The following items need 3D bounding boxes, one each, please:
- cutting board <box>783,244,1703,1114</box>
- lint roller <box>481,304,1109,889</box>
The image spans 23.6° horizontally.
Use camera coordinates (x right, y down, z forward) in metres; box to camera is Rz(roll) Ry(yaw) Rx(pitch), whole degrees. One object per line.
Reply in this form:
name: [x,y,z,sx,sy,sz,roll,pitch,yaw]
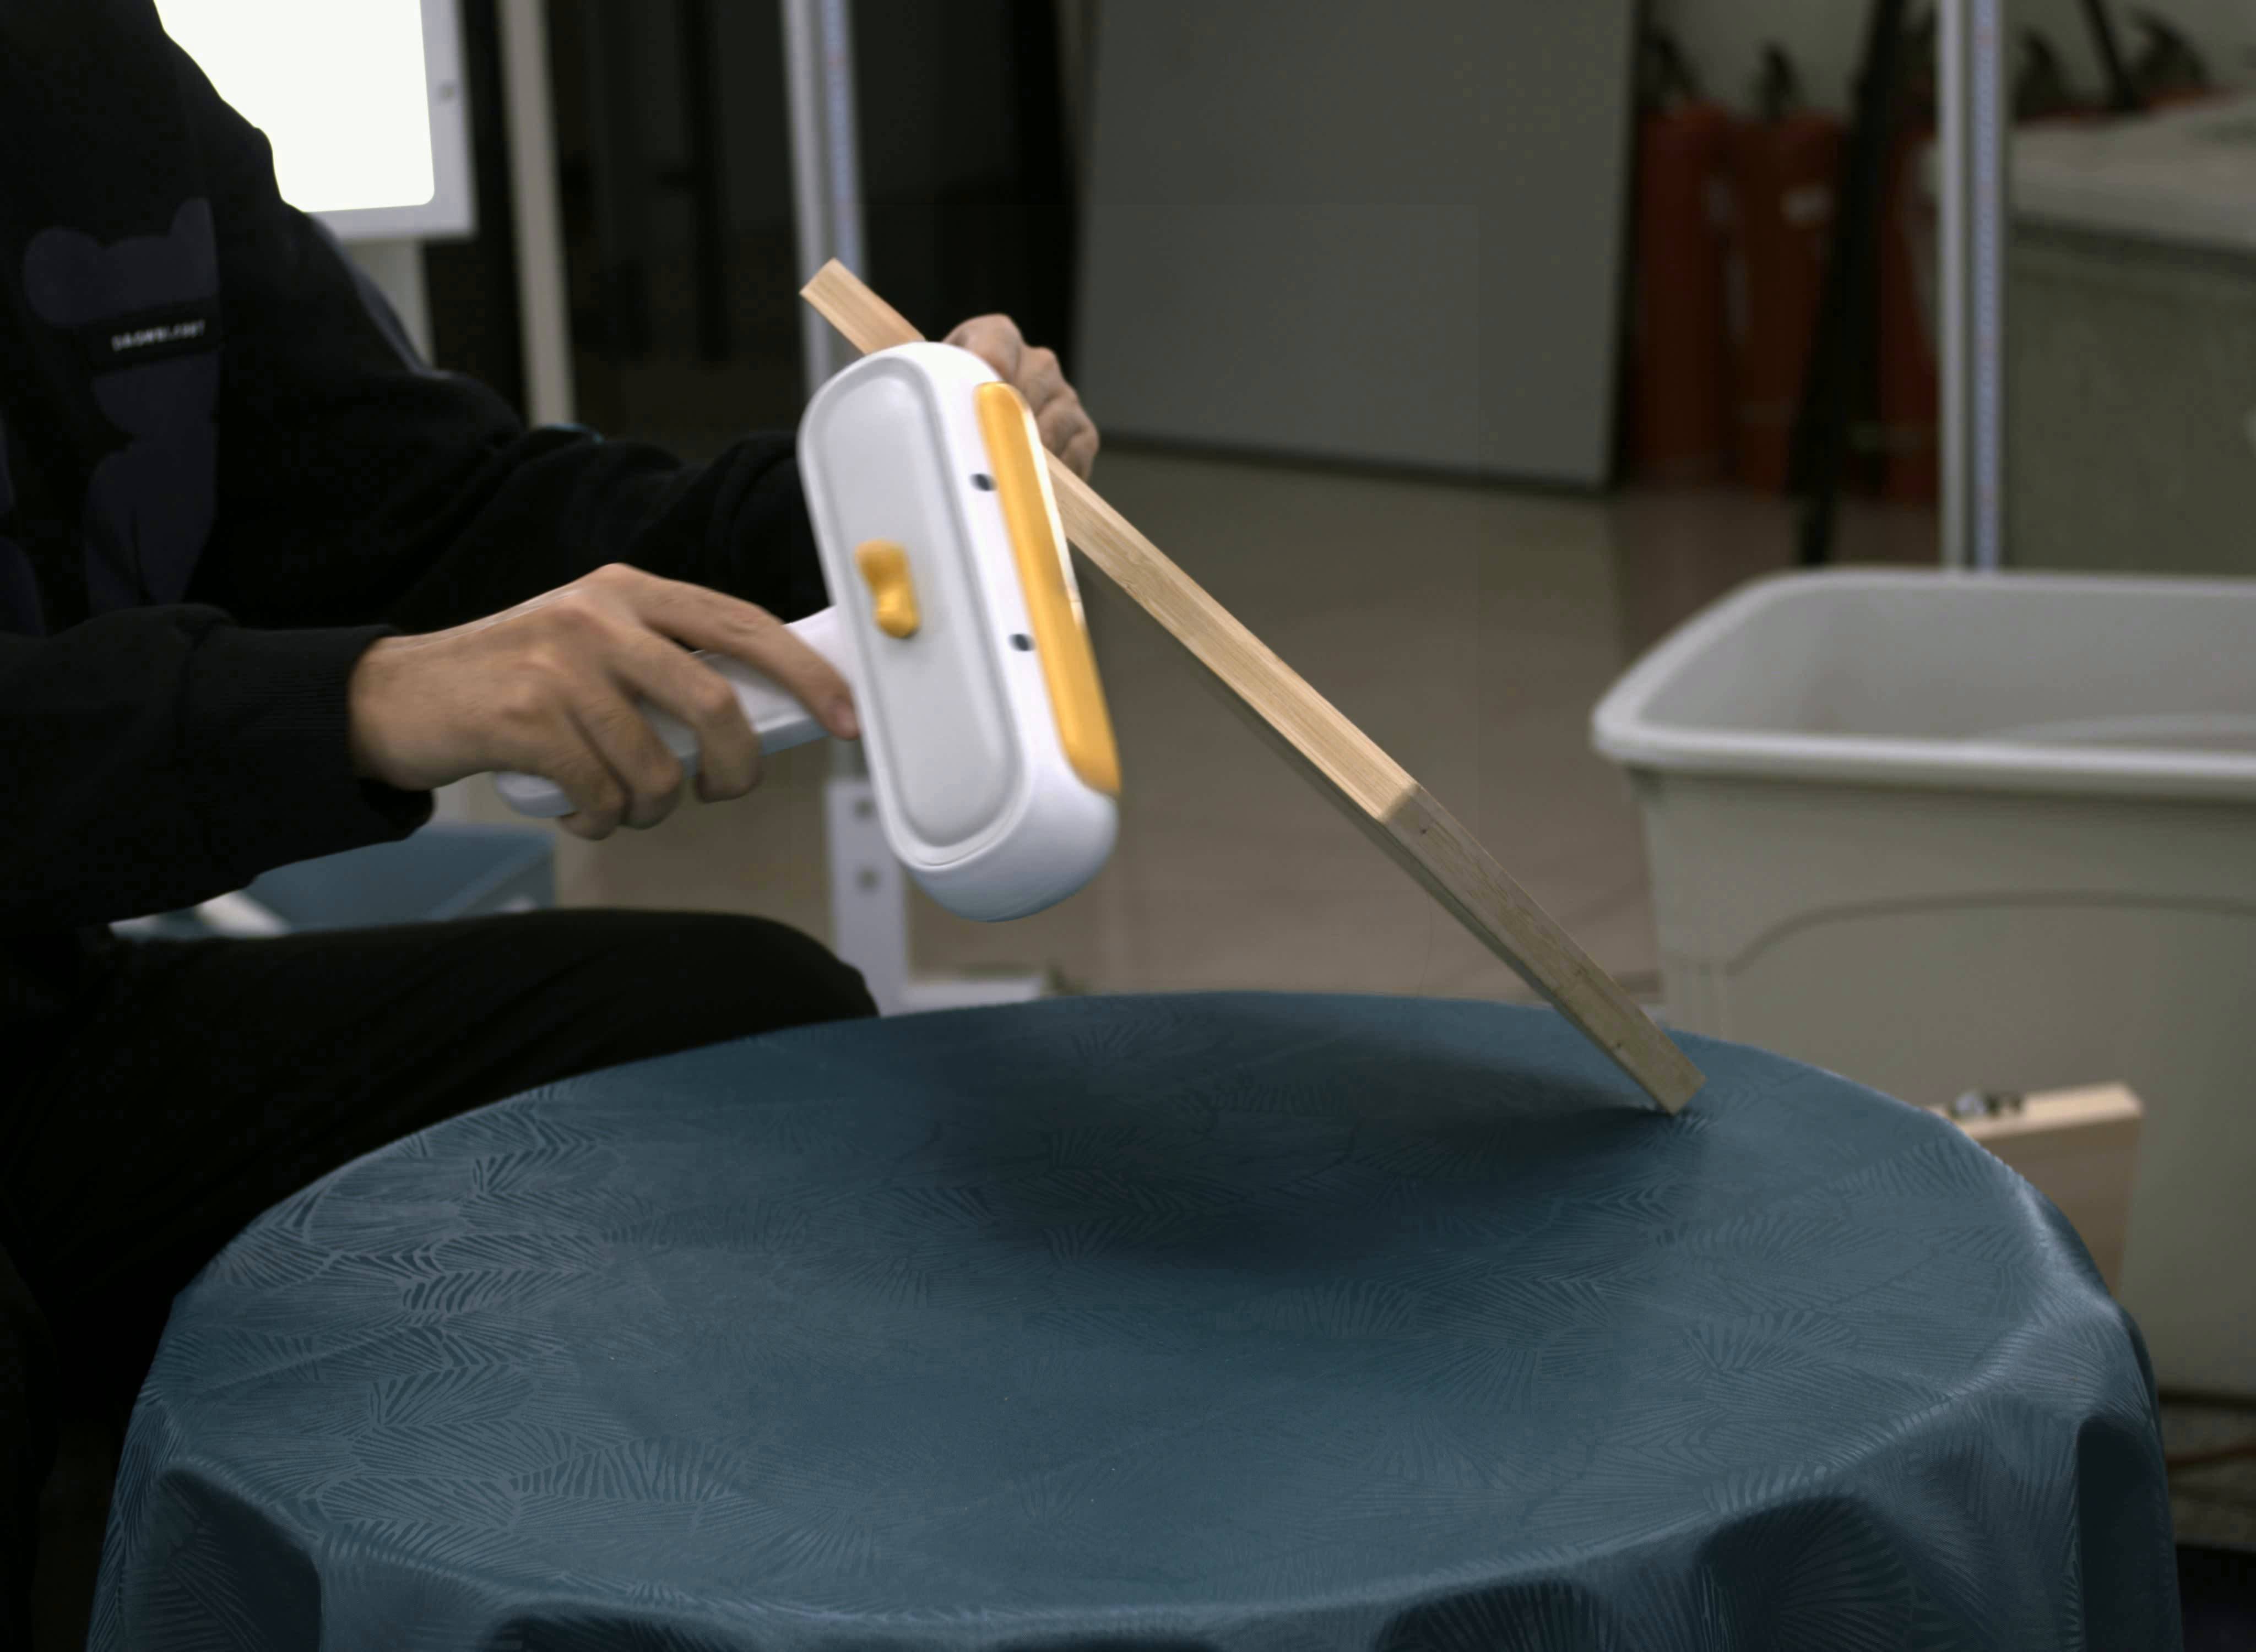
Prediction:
cutting board: [0.037,-0.051,1.835,0.353,0.023,0.247,44,0,39]
lint roller: [-0.111,-0.047,1.678,0.192,0.195,0.073,-28,-25,18]
